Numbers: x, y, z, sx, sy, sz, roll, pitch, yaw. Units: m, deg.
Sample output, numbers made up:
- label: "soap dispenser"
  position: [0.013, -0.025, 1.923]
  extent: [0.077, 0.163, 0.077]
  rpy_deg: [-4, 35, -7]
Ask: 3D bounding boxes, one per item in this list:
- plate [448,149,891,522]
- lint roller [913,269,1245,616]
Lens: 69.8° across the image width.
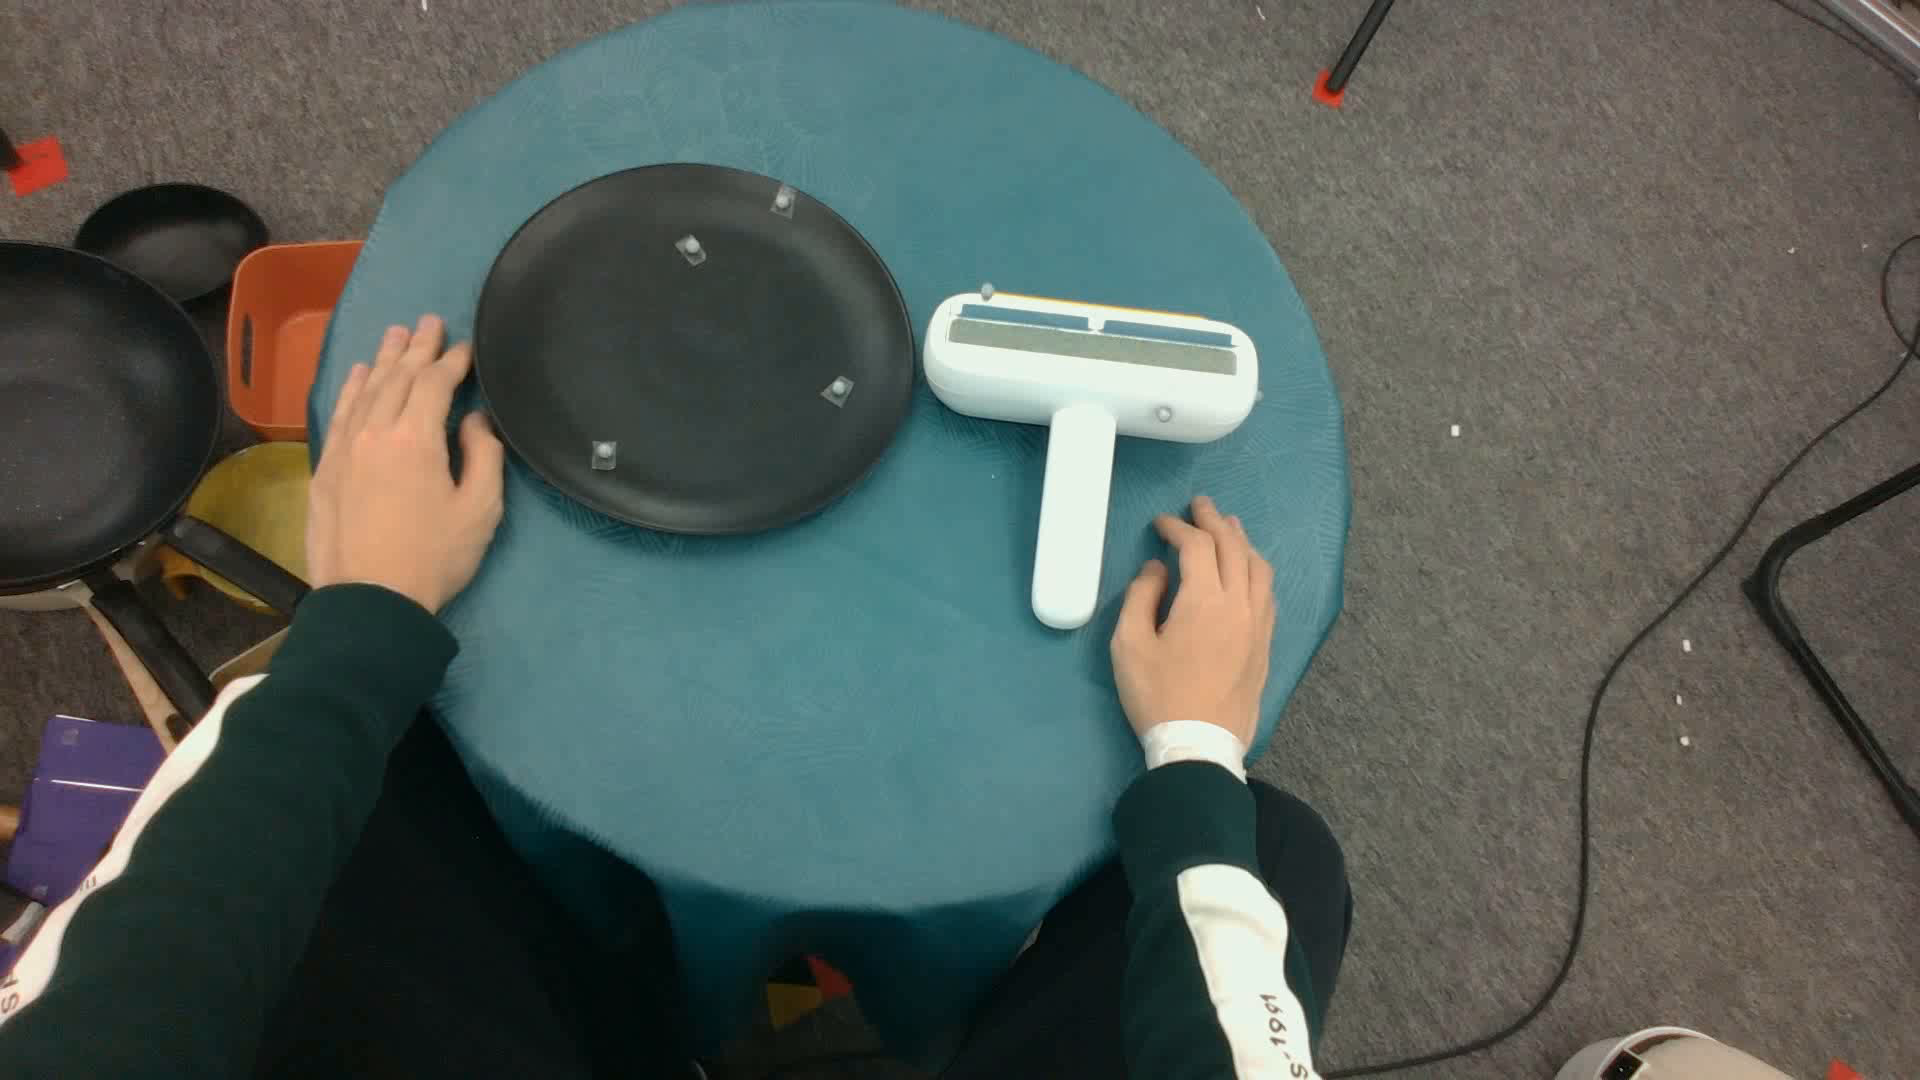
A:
- label: "plate"
  position: [-0.160, -0.117, 0.781]
  extent: [0.244, 0.023, 0.245]
  rpy_deg: [5, 65, -11]
- label: "lint roller"
  position: [0.056, -0.052, 0.799]
  extent: [0.193, 0.074, 0.193]
  rpy_deg: [13, 79, 0]
